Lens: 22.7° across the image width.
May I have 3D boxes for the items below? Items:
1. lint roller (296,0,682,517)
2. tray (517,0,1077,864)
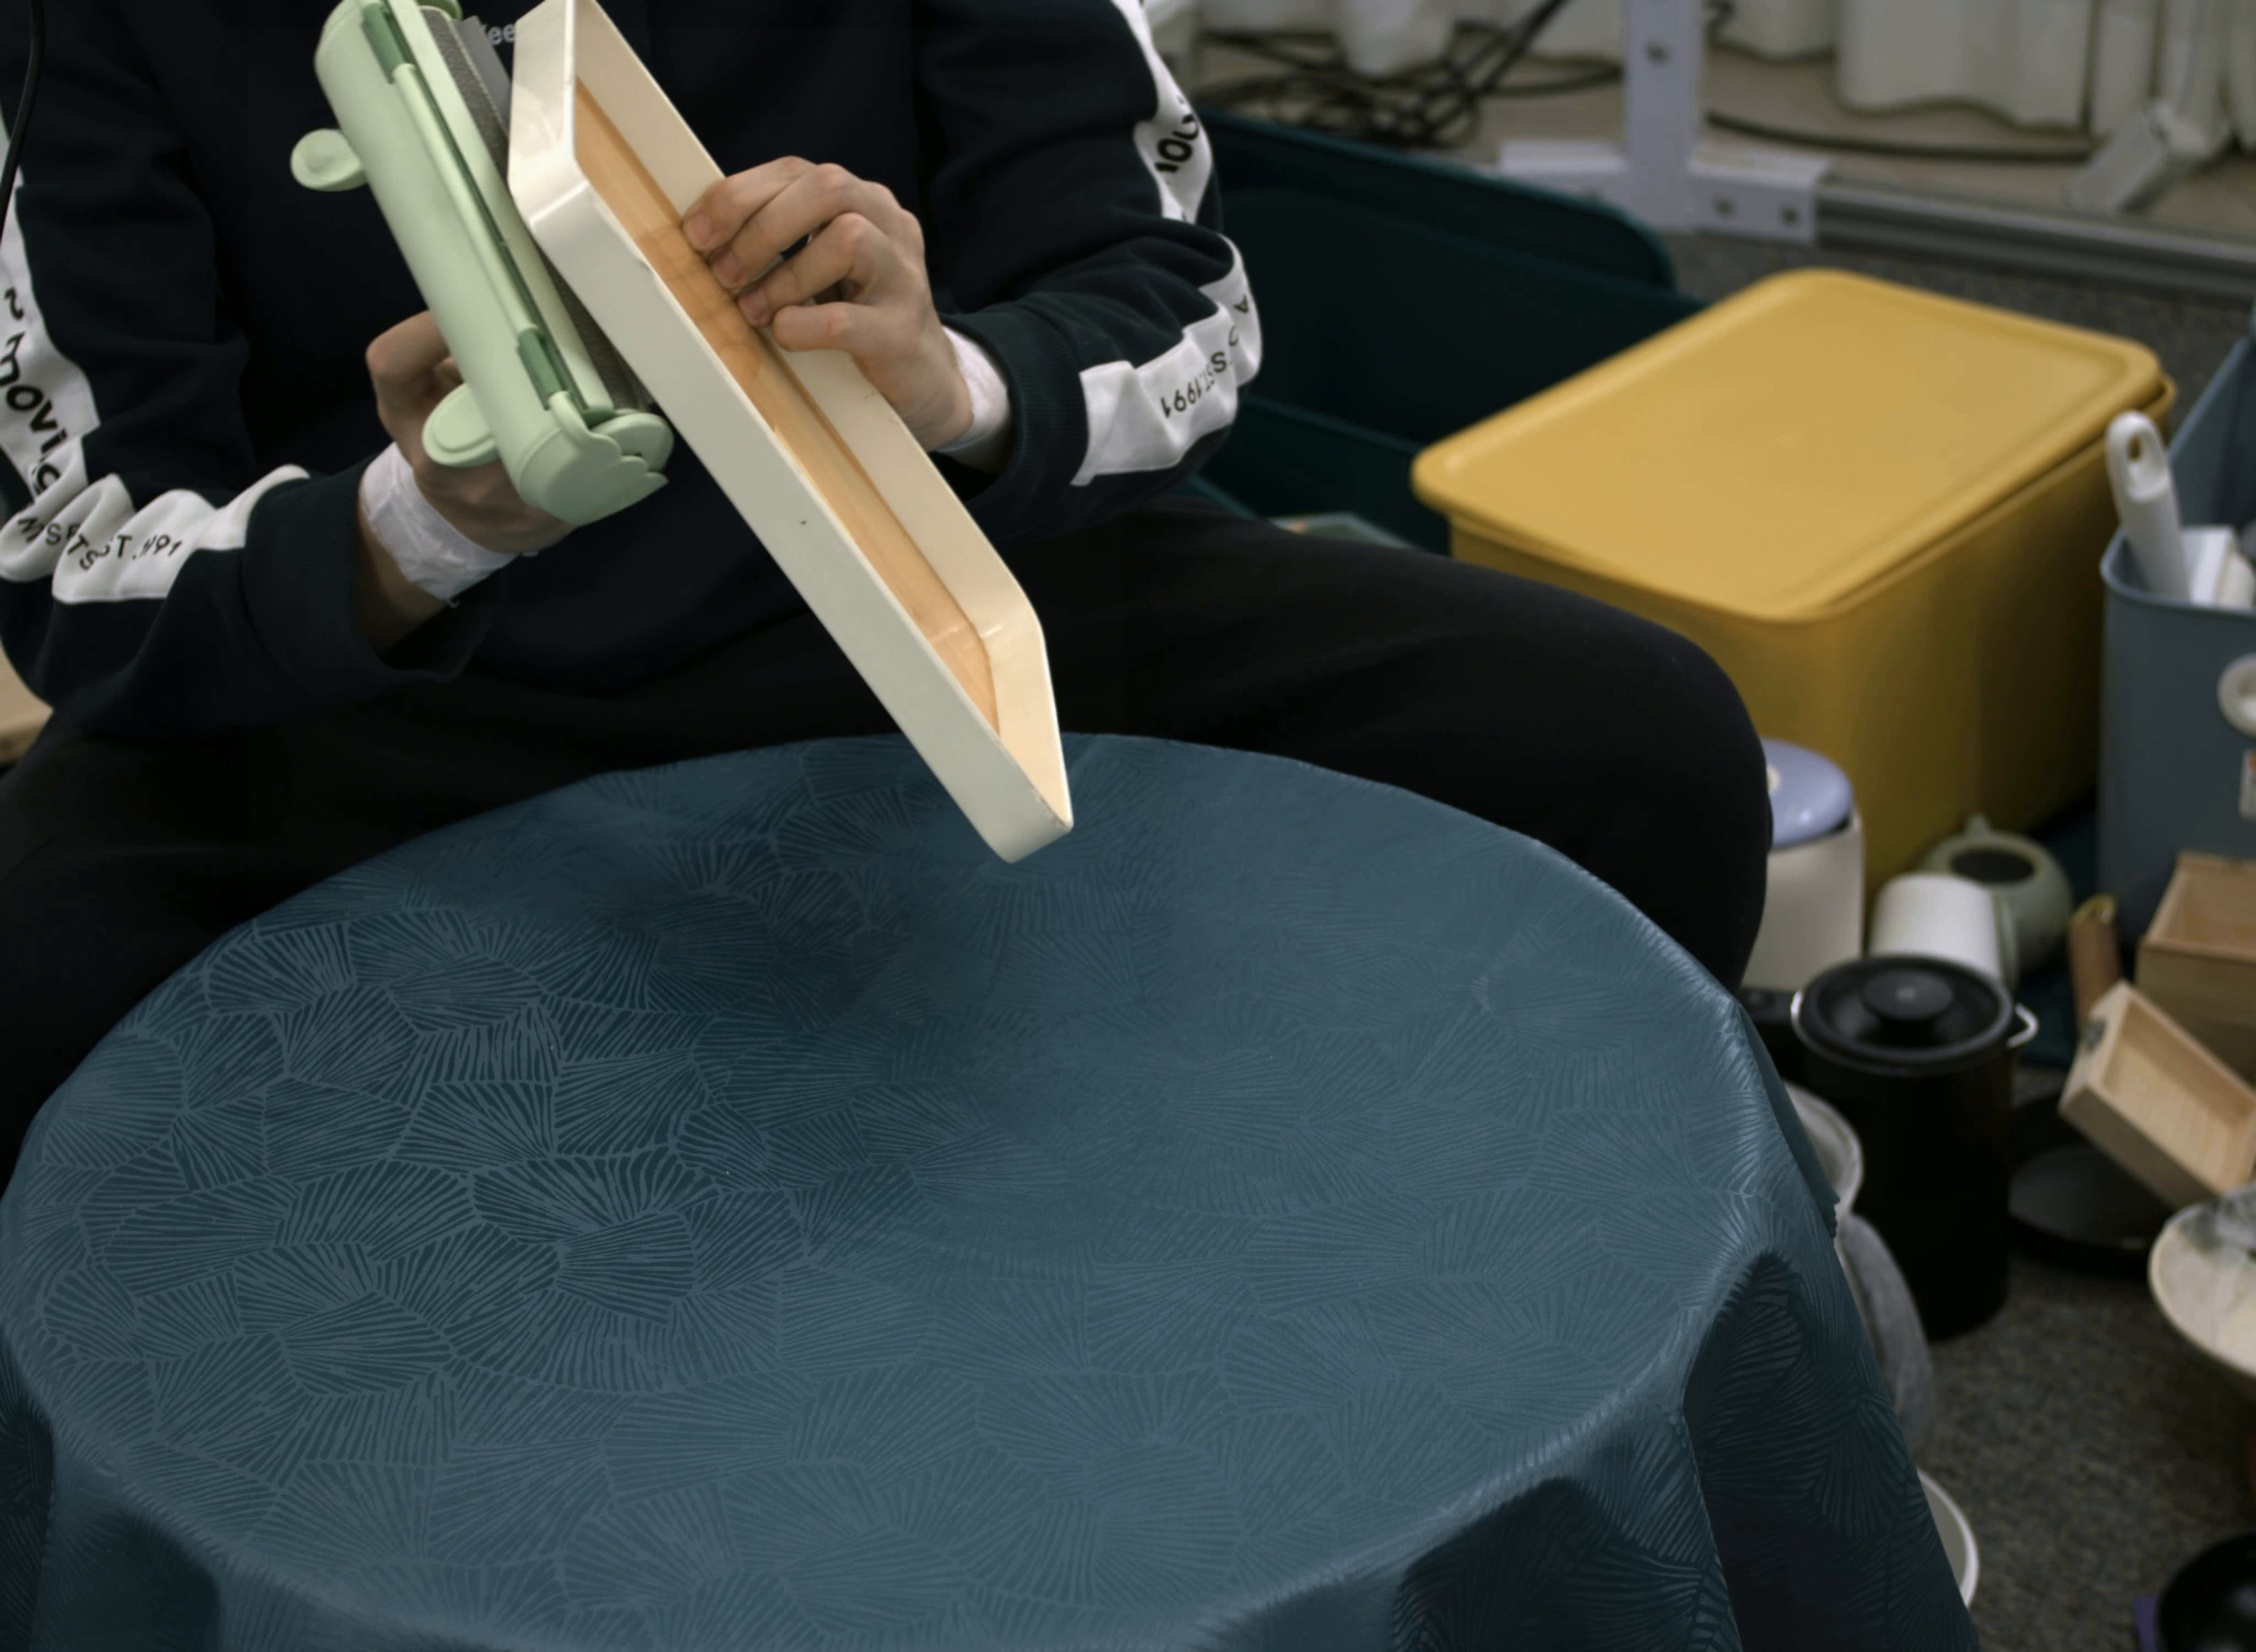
[{"bbox_3d":[-0.220,-0.165,1.908,0.082,0.180,0.201,-20,66,-17],"label":"lint roller"},{"bbox_3d":[-0.113,-0.138,1.922,0.027,0.298,0.194,-31,24,10],"label":"tray"}]
